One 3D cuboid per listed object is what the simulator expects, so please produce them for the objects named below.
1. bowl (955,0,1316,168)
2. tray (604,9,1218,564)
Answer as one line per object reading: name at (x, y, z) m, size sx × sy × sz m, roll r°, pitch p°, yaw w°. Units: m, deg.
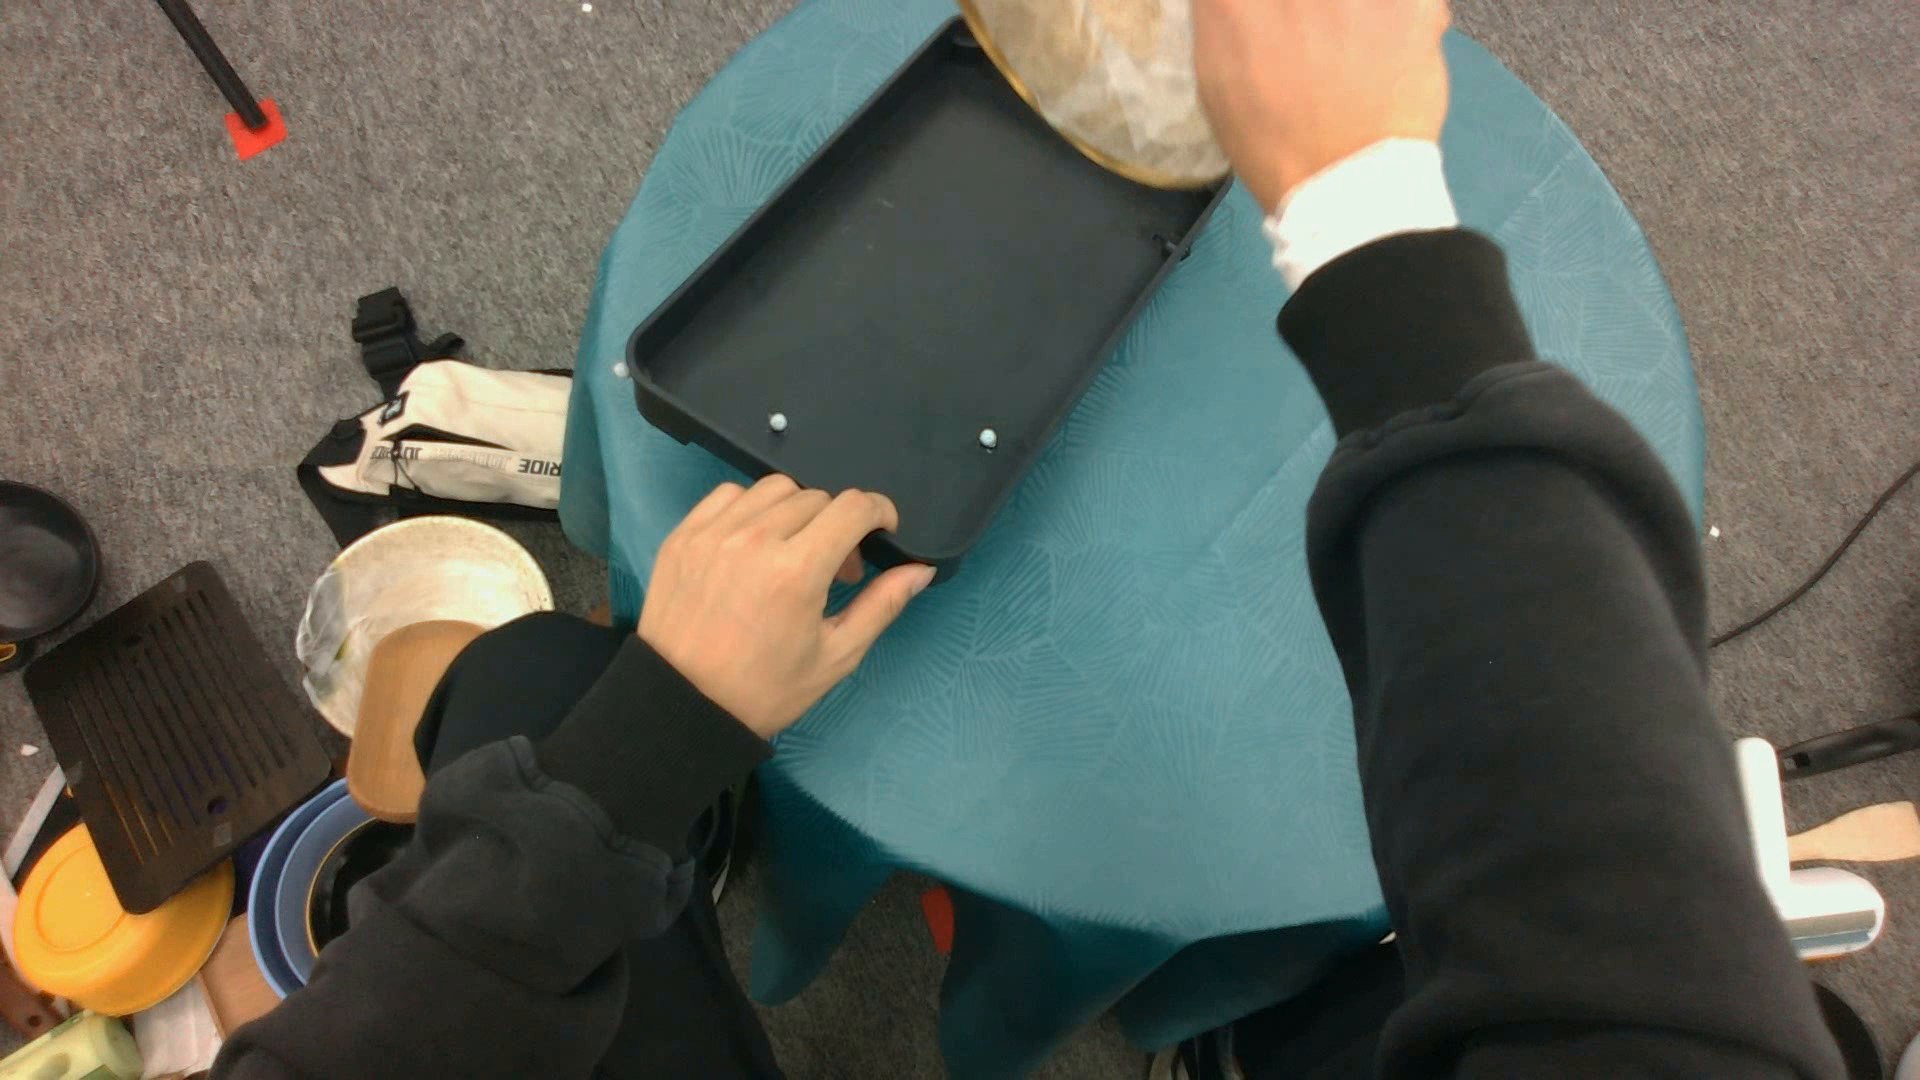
bowl at (0.078, -0.267, 0.564) m, size 0.095 × 0.214 × 0.215 m, roll -37°, pitch 77°, yaw -21°
tray at (-0.013, -0.143, 0.696) m, size 0.184 × 0.037 × 0.319 m, roll 33°, pitch 58°, yaw 8°
